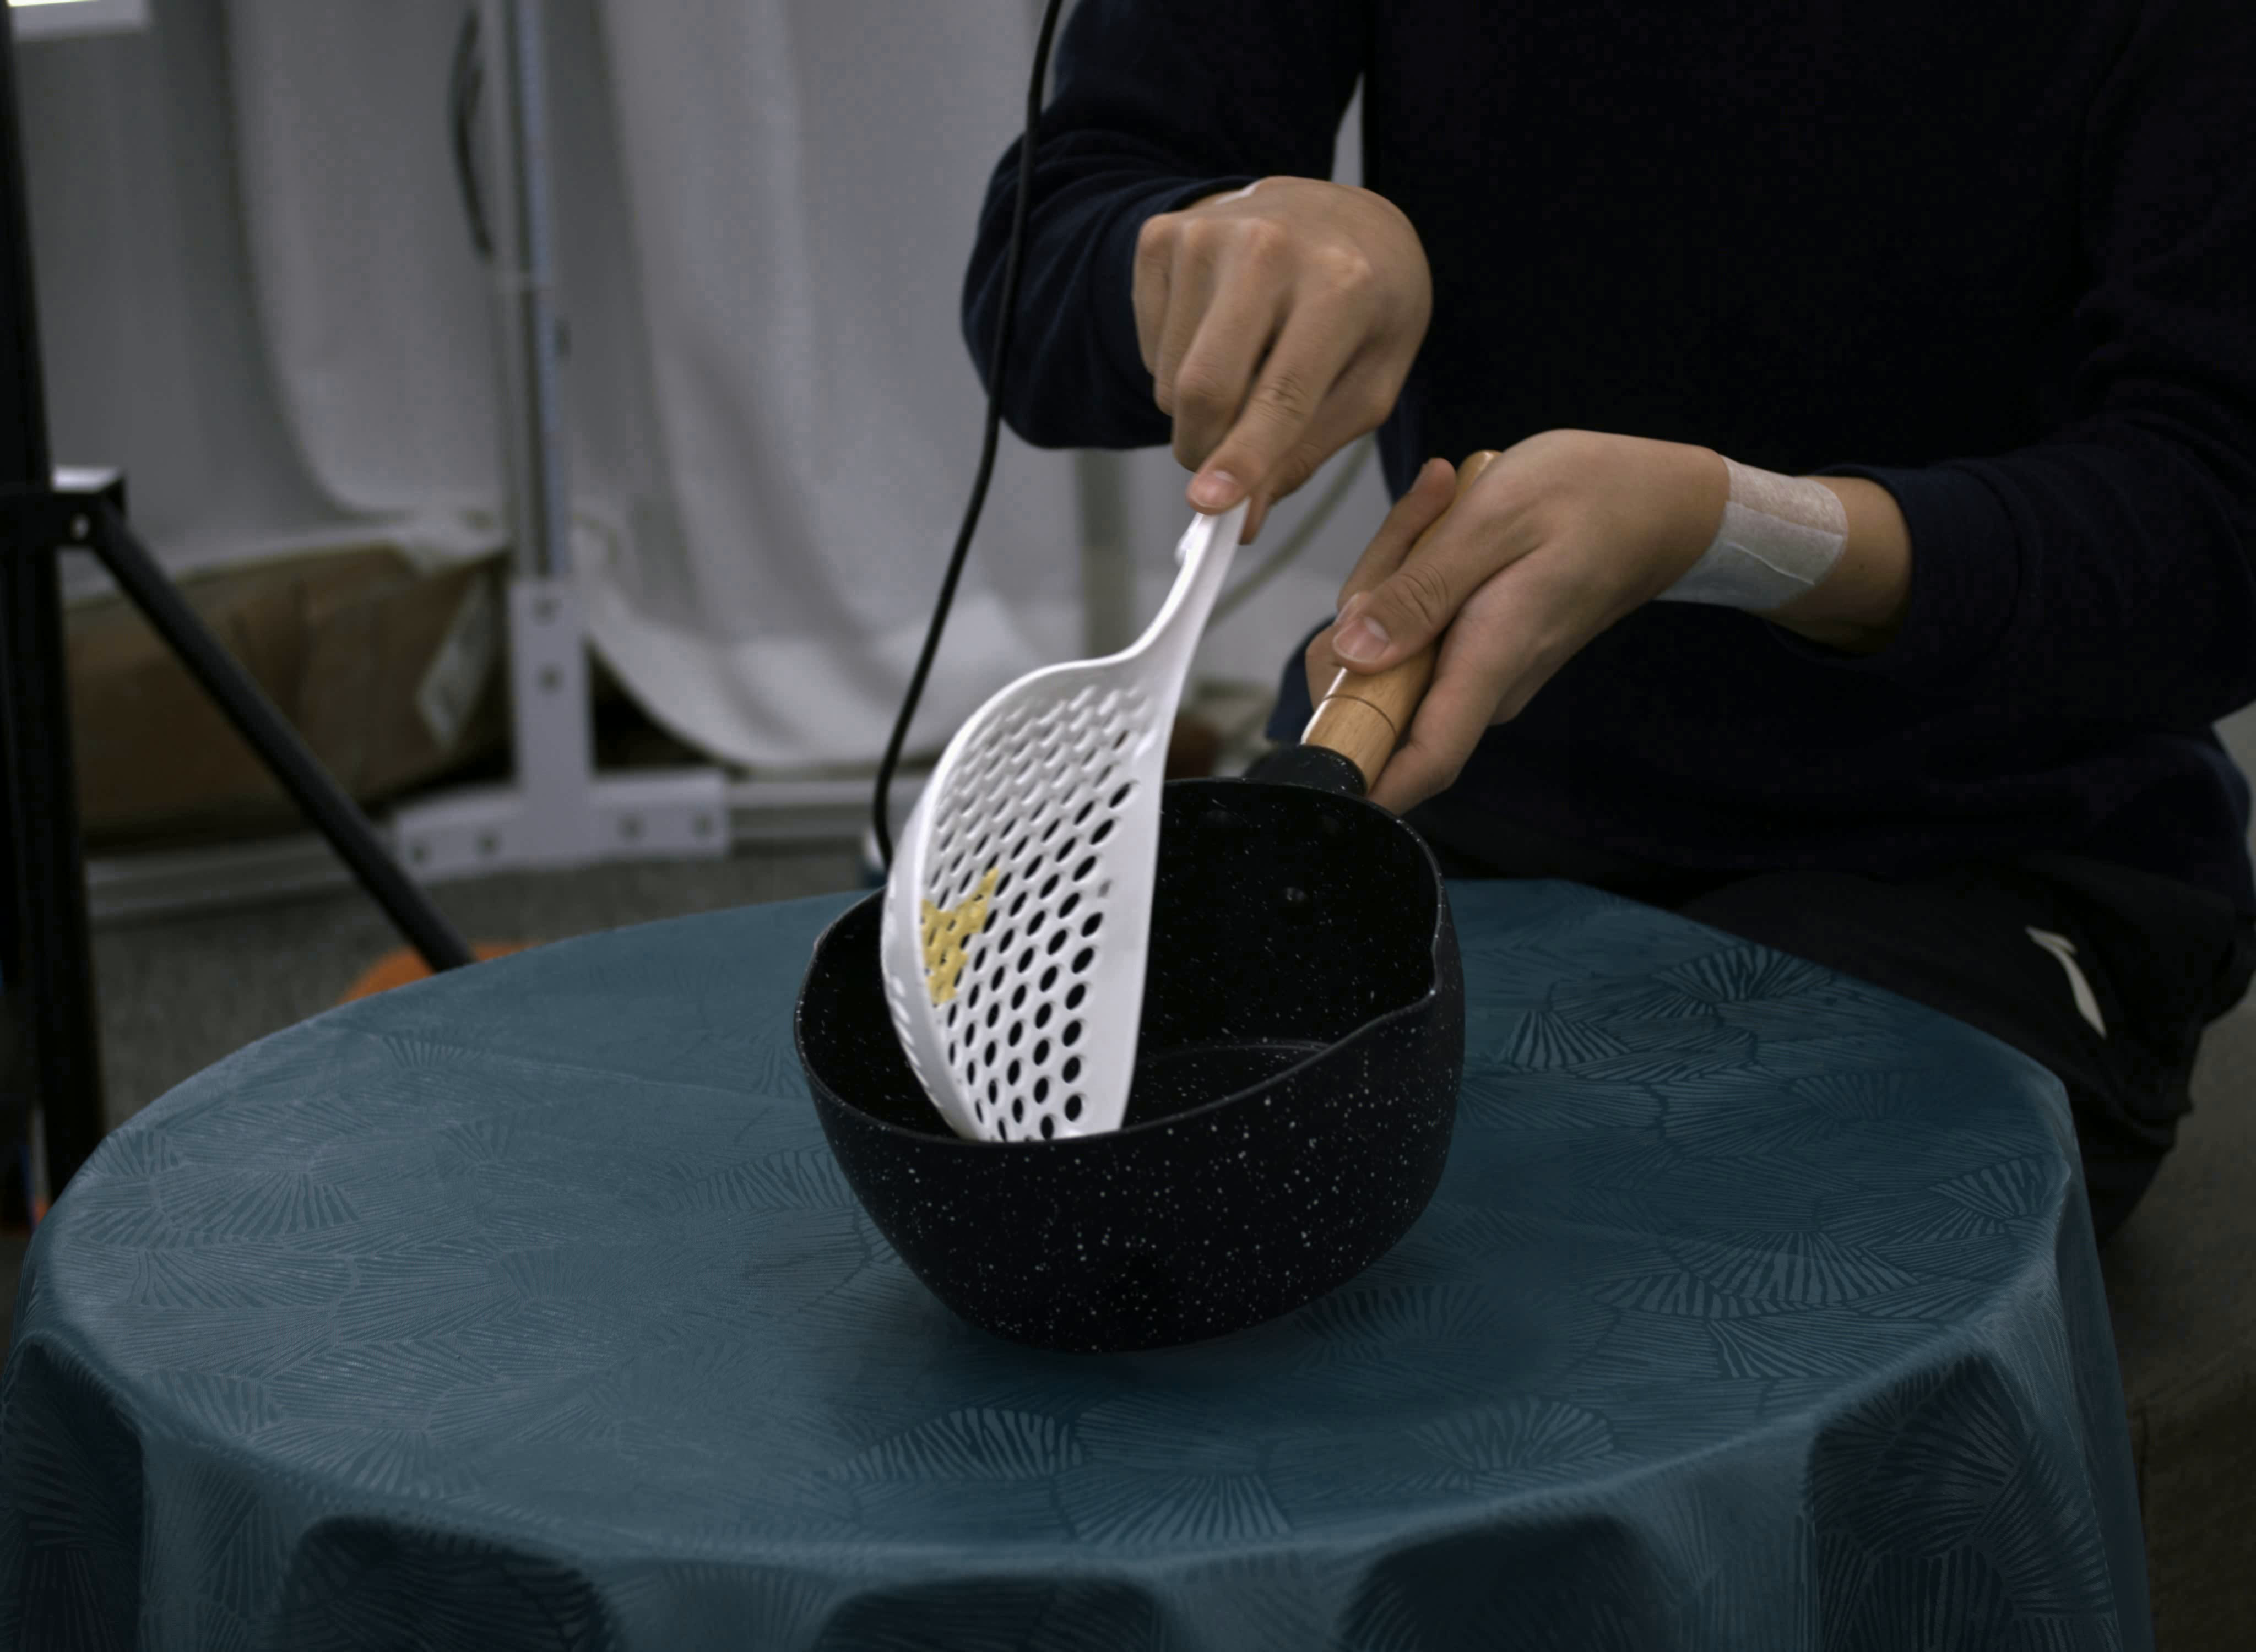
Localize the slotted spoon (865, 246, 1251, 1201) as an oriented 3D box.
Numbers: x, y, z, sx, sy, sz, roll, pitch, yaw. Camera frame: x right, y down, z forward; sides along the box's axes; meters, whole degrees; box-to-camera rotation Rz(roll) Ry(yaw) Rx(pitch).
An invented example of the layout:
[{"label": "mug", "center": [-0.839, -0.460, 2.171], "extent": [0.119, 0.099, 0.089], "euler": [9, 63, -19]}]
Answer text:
[{"label": "slotted spoon", "center": [-0.005, -0.042, 1.501], "extent": [0.051, 0.134, 0.347], "euler": [0, 45, 30]}]

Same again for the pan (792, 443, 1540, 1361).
[{"label": "pan", "center": [0.041, 0.019, 1.521], "extent": [0.211, 0.107, 0.339], "euler": [3, 34, 33]}]
